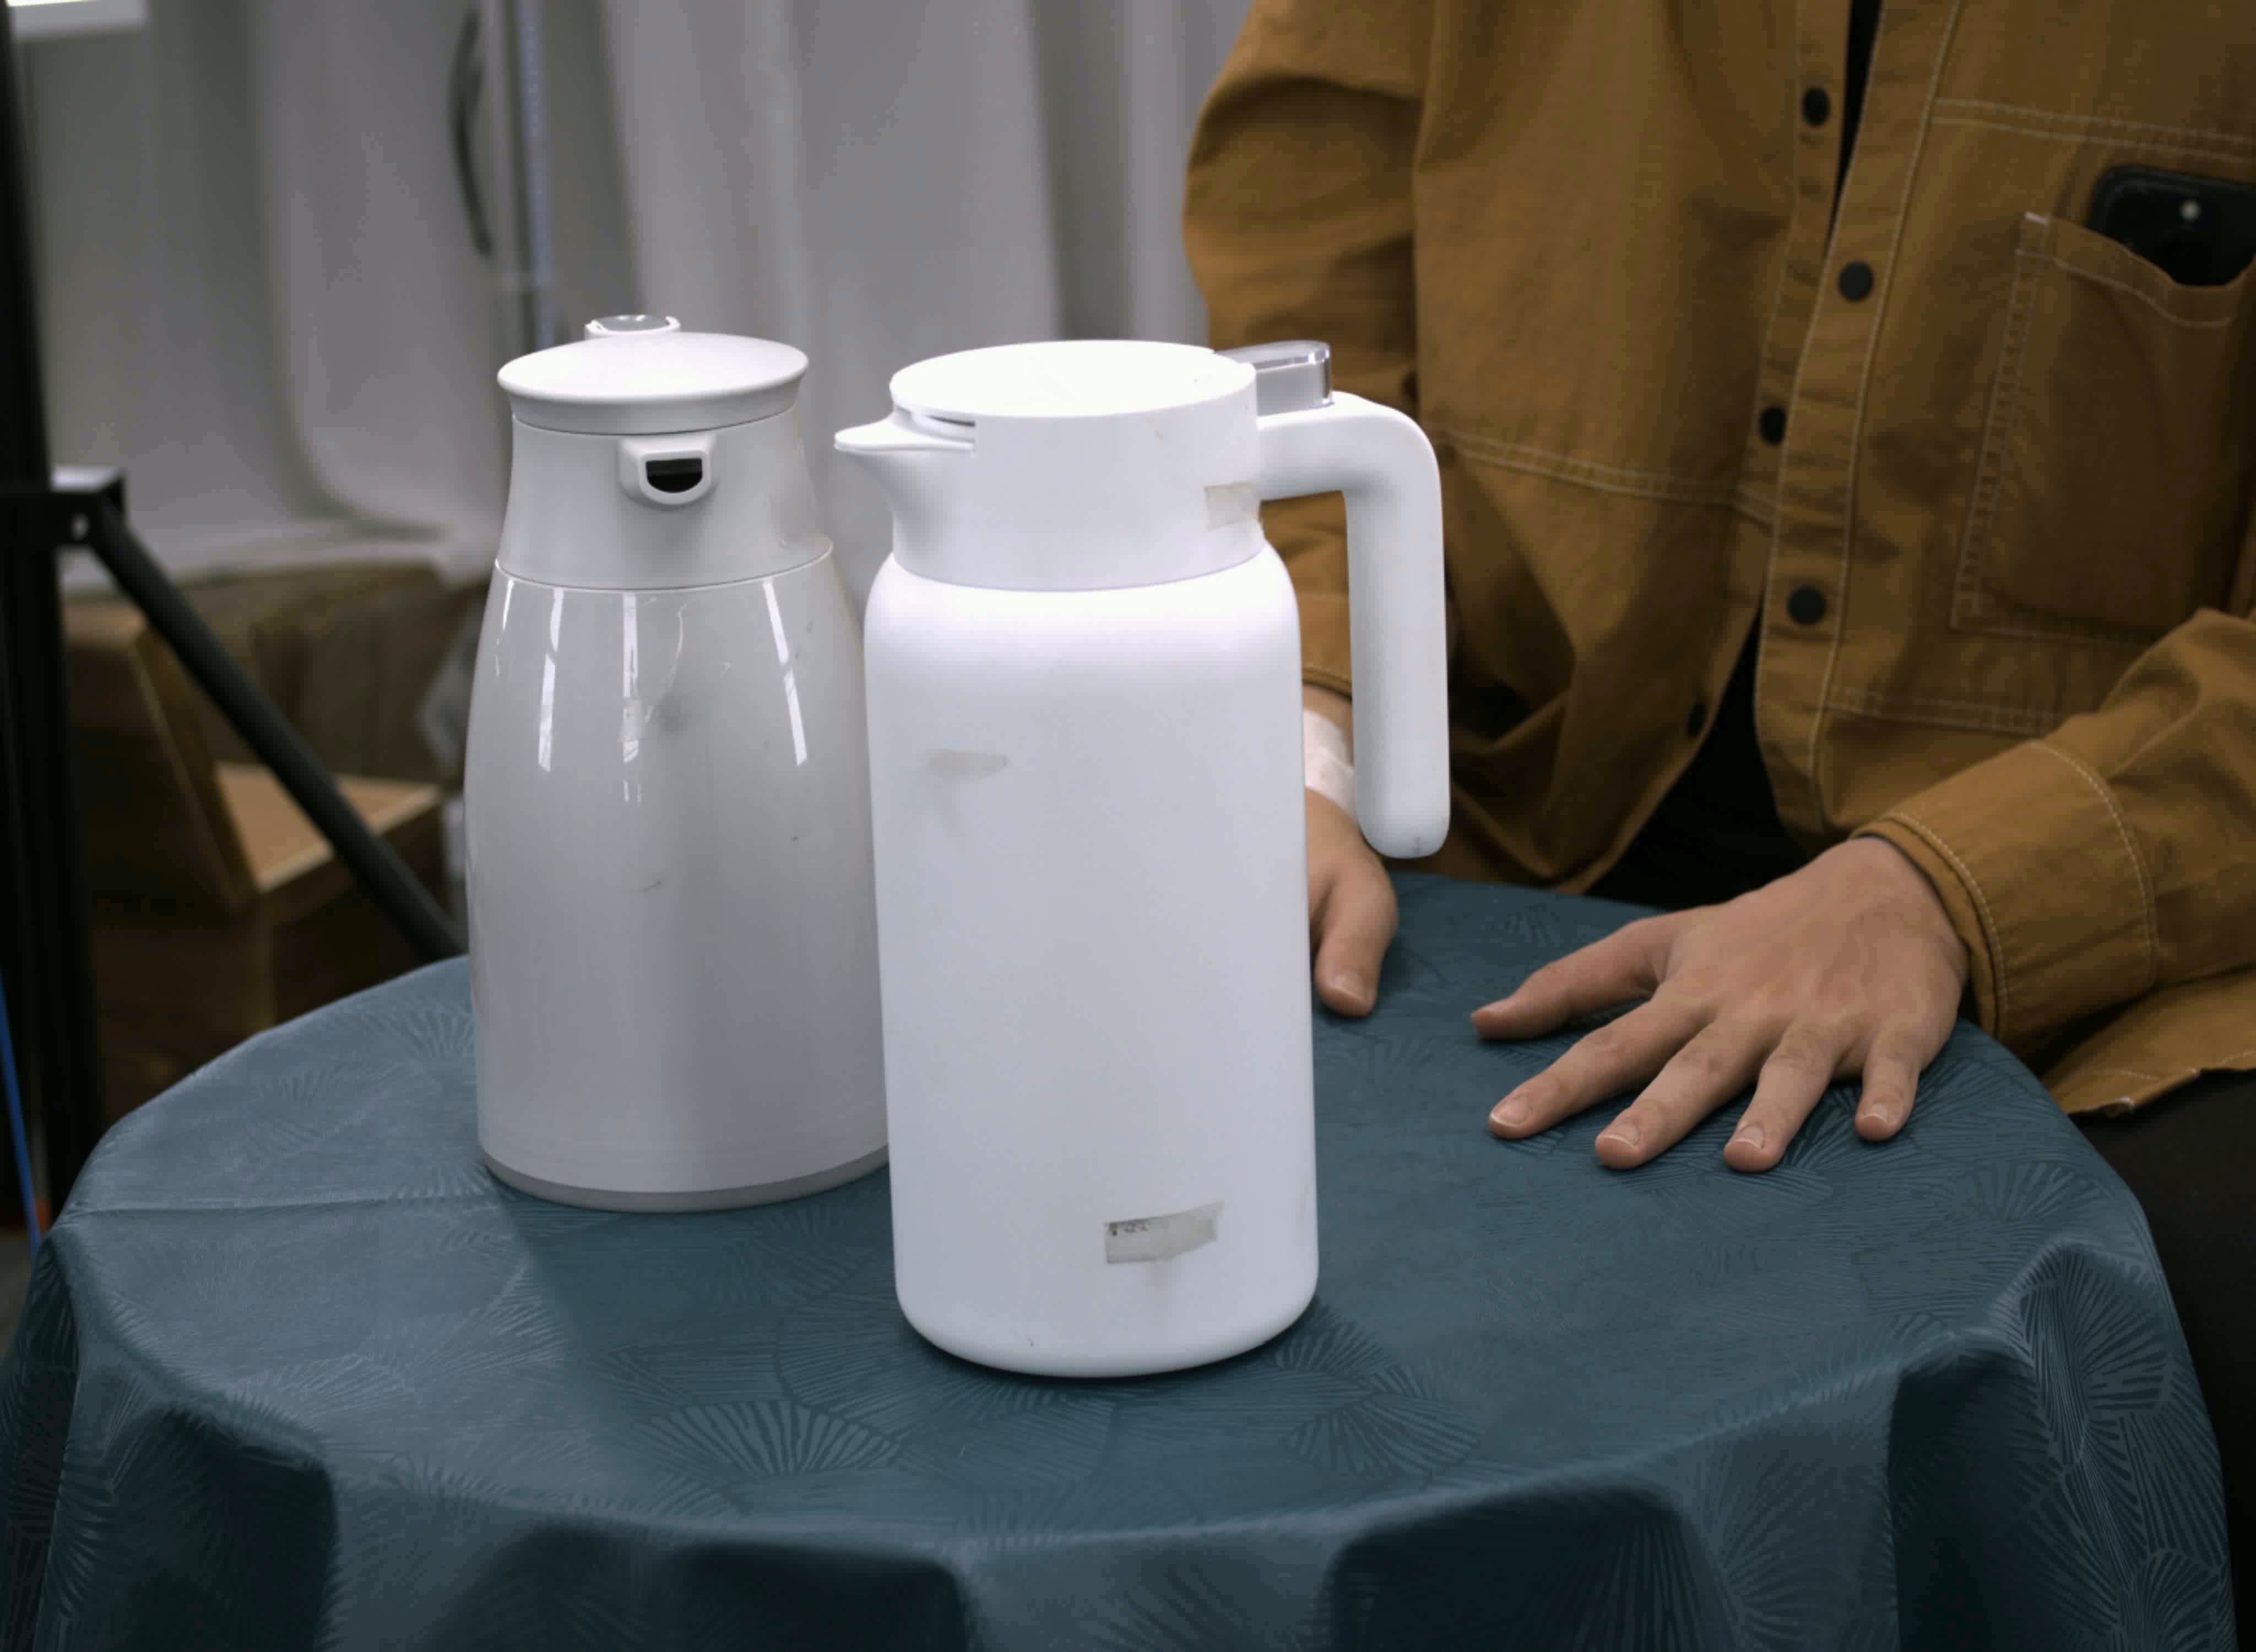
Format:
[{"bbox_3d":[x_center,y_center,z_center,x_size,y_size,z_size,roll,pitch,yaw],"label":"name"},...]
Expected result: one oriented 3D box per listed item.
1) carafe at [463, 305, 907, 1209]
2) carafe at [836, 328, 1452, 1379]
[{"bbox_3d":[-0.139,-0.029,1.607,0.131,0.249,0.169,-4,14,-9],"label":"carafe"},{"bbox_3d":[0.006,0.003,1.434,0.169,0.269,0.126,-9,14,-24],"label":"carafe"}]
